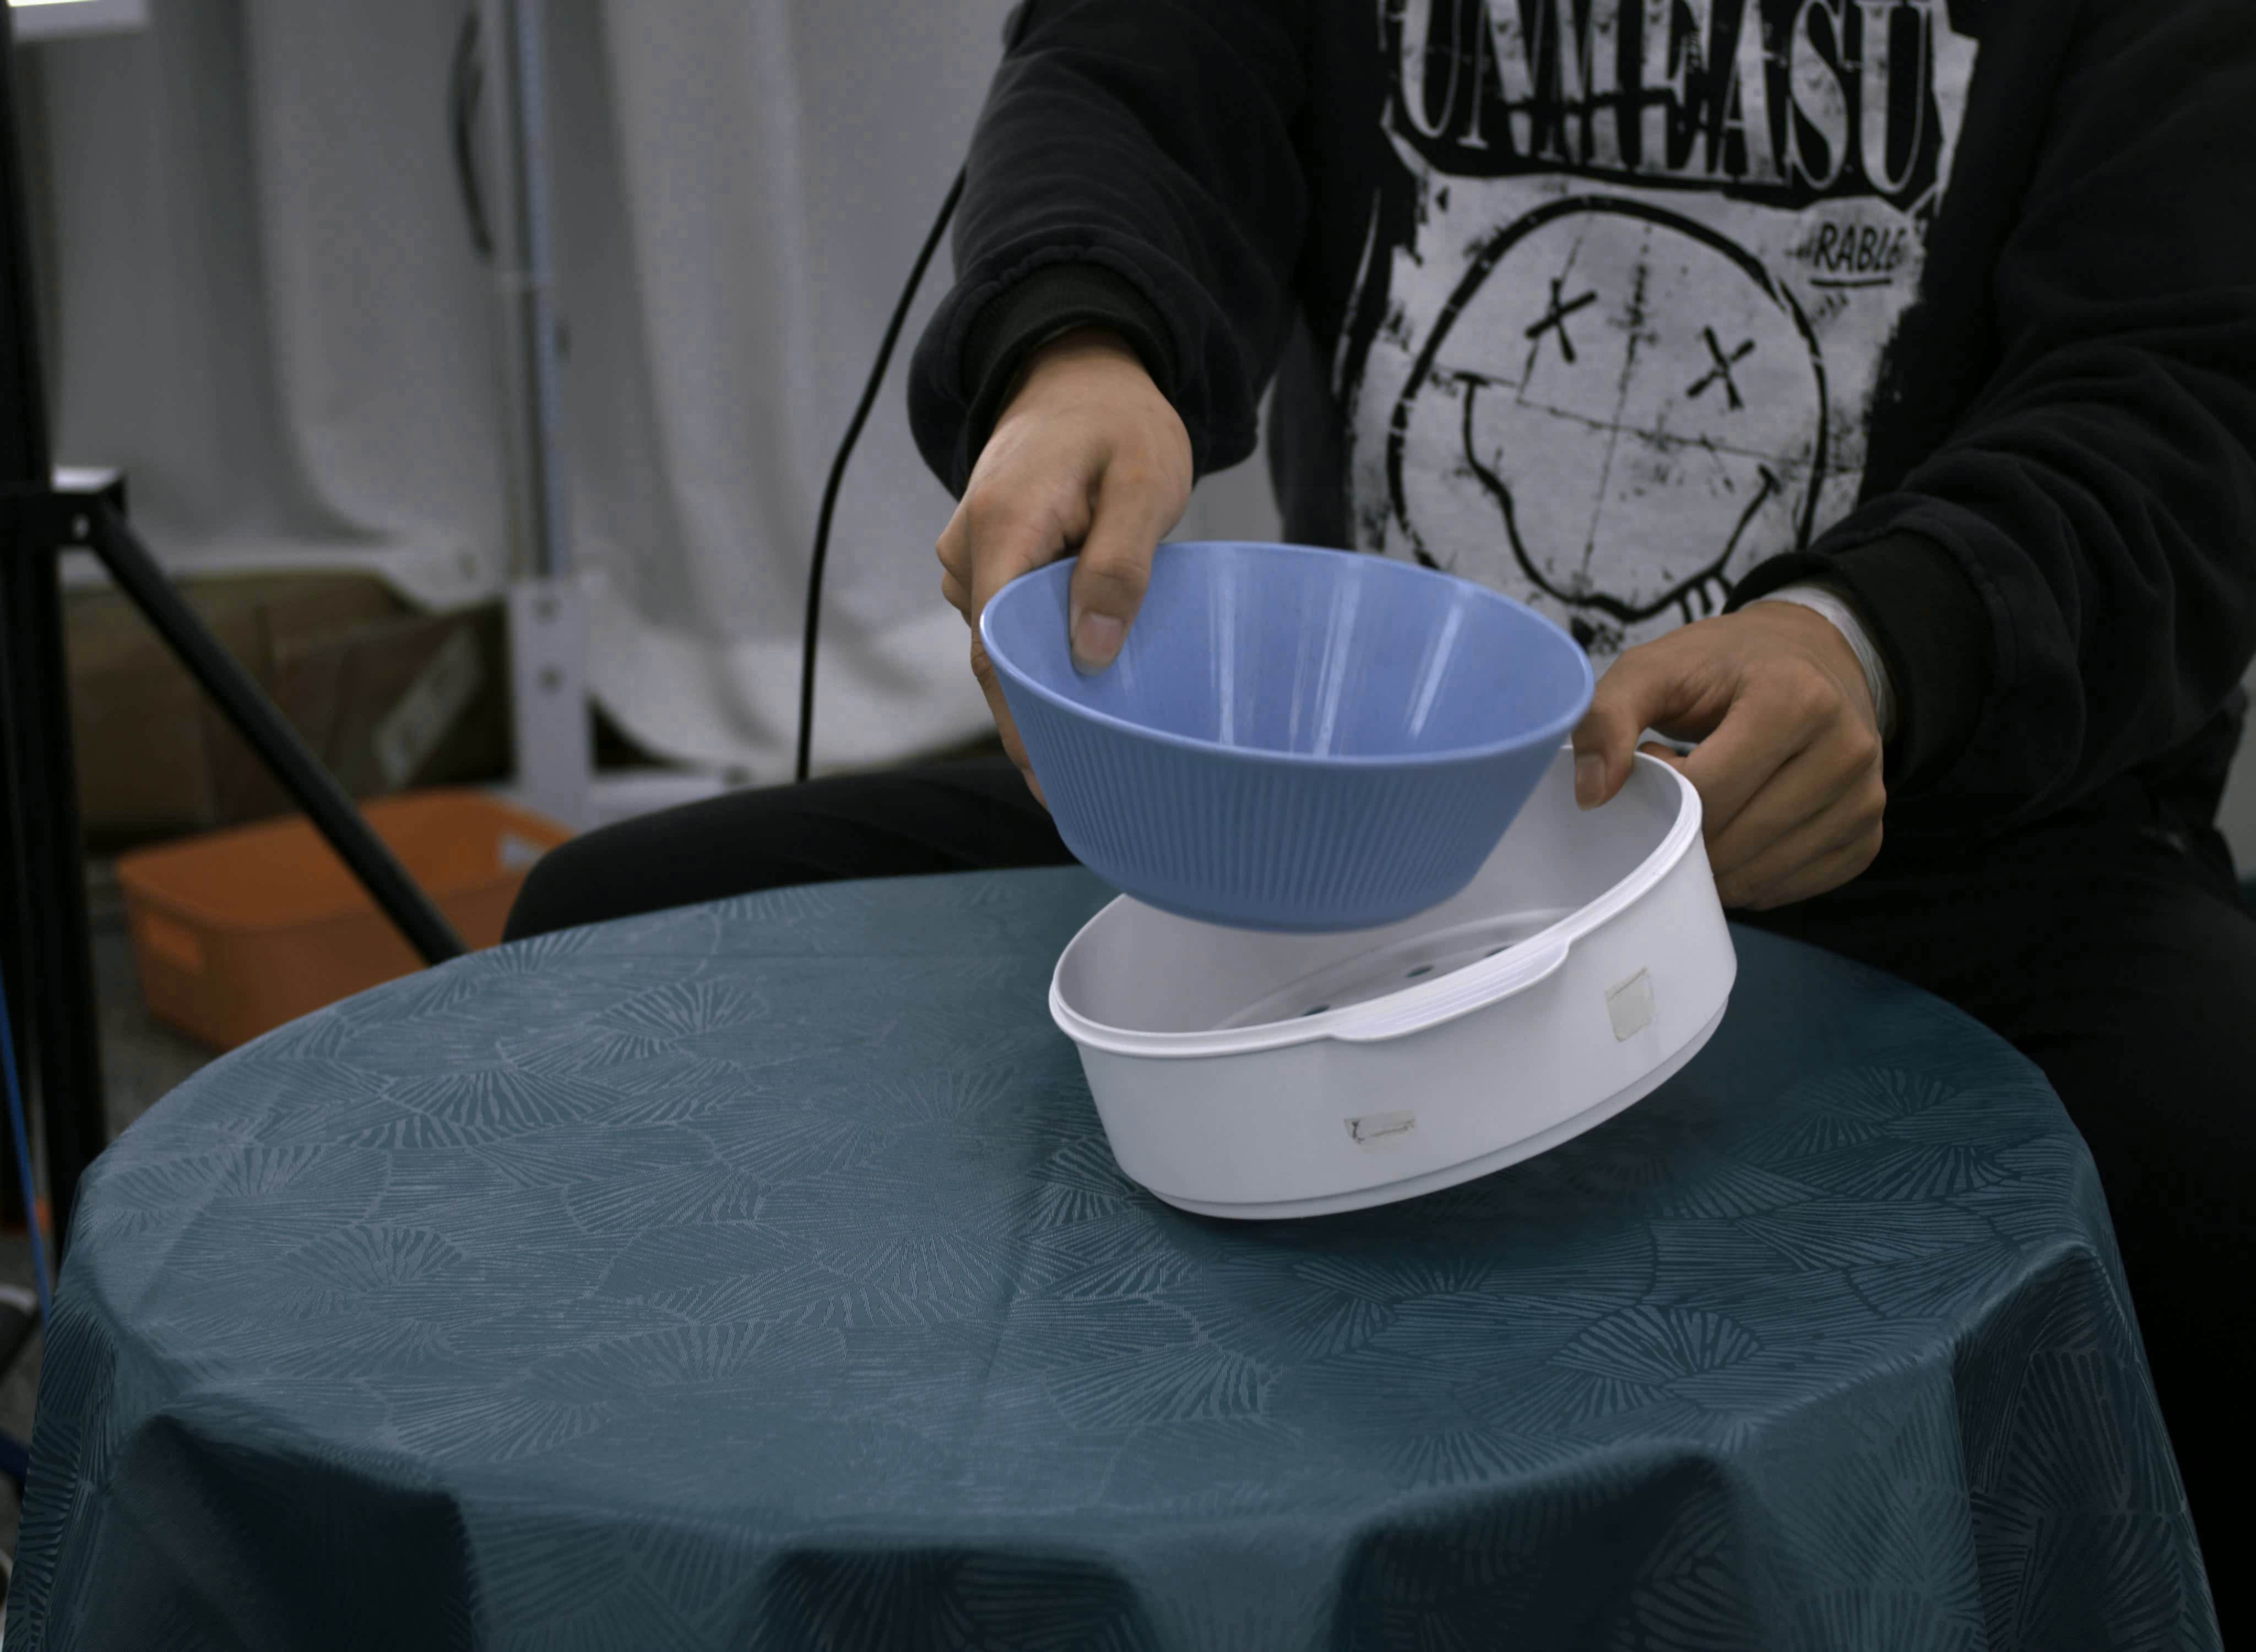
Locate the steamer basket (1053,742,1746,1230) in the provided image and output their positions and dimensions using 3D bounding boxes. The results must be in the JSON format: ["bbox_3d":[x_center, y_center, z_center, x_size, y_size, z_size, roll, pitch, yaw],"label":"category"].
[{"bbox_3d":[0.082,0.048,1.559,0.200,0.069,0.233,-21,19,-5],"label":"steamer basket"}]

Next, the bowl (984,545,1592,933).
[{"bbox_3d":[0.042,-0.021,1.525,0.175,0.070,0.177,5,22,-4],"label":"bowl"}]
